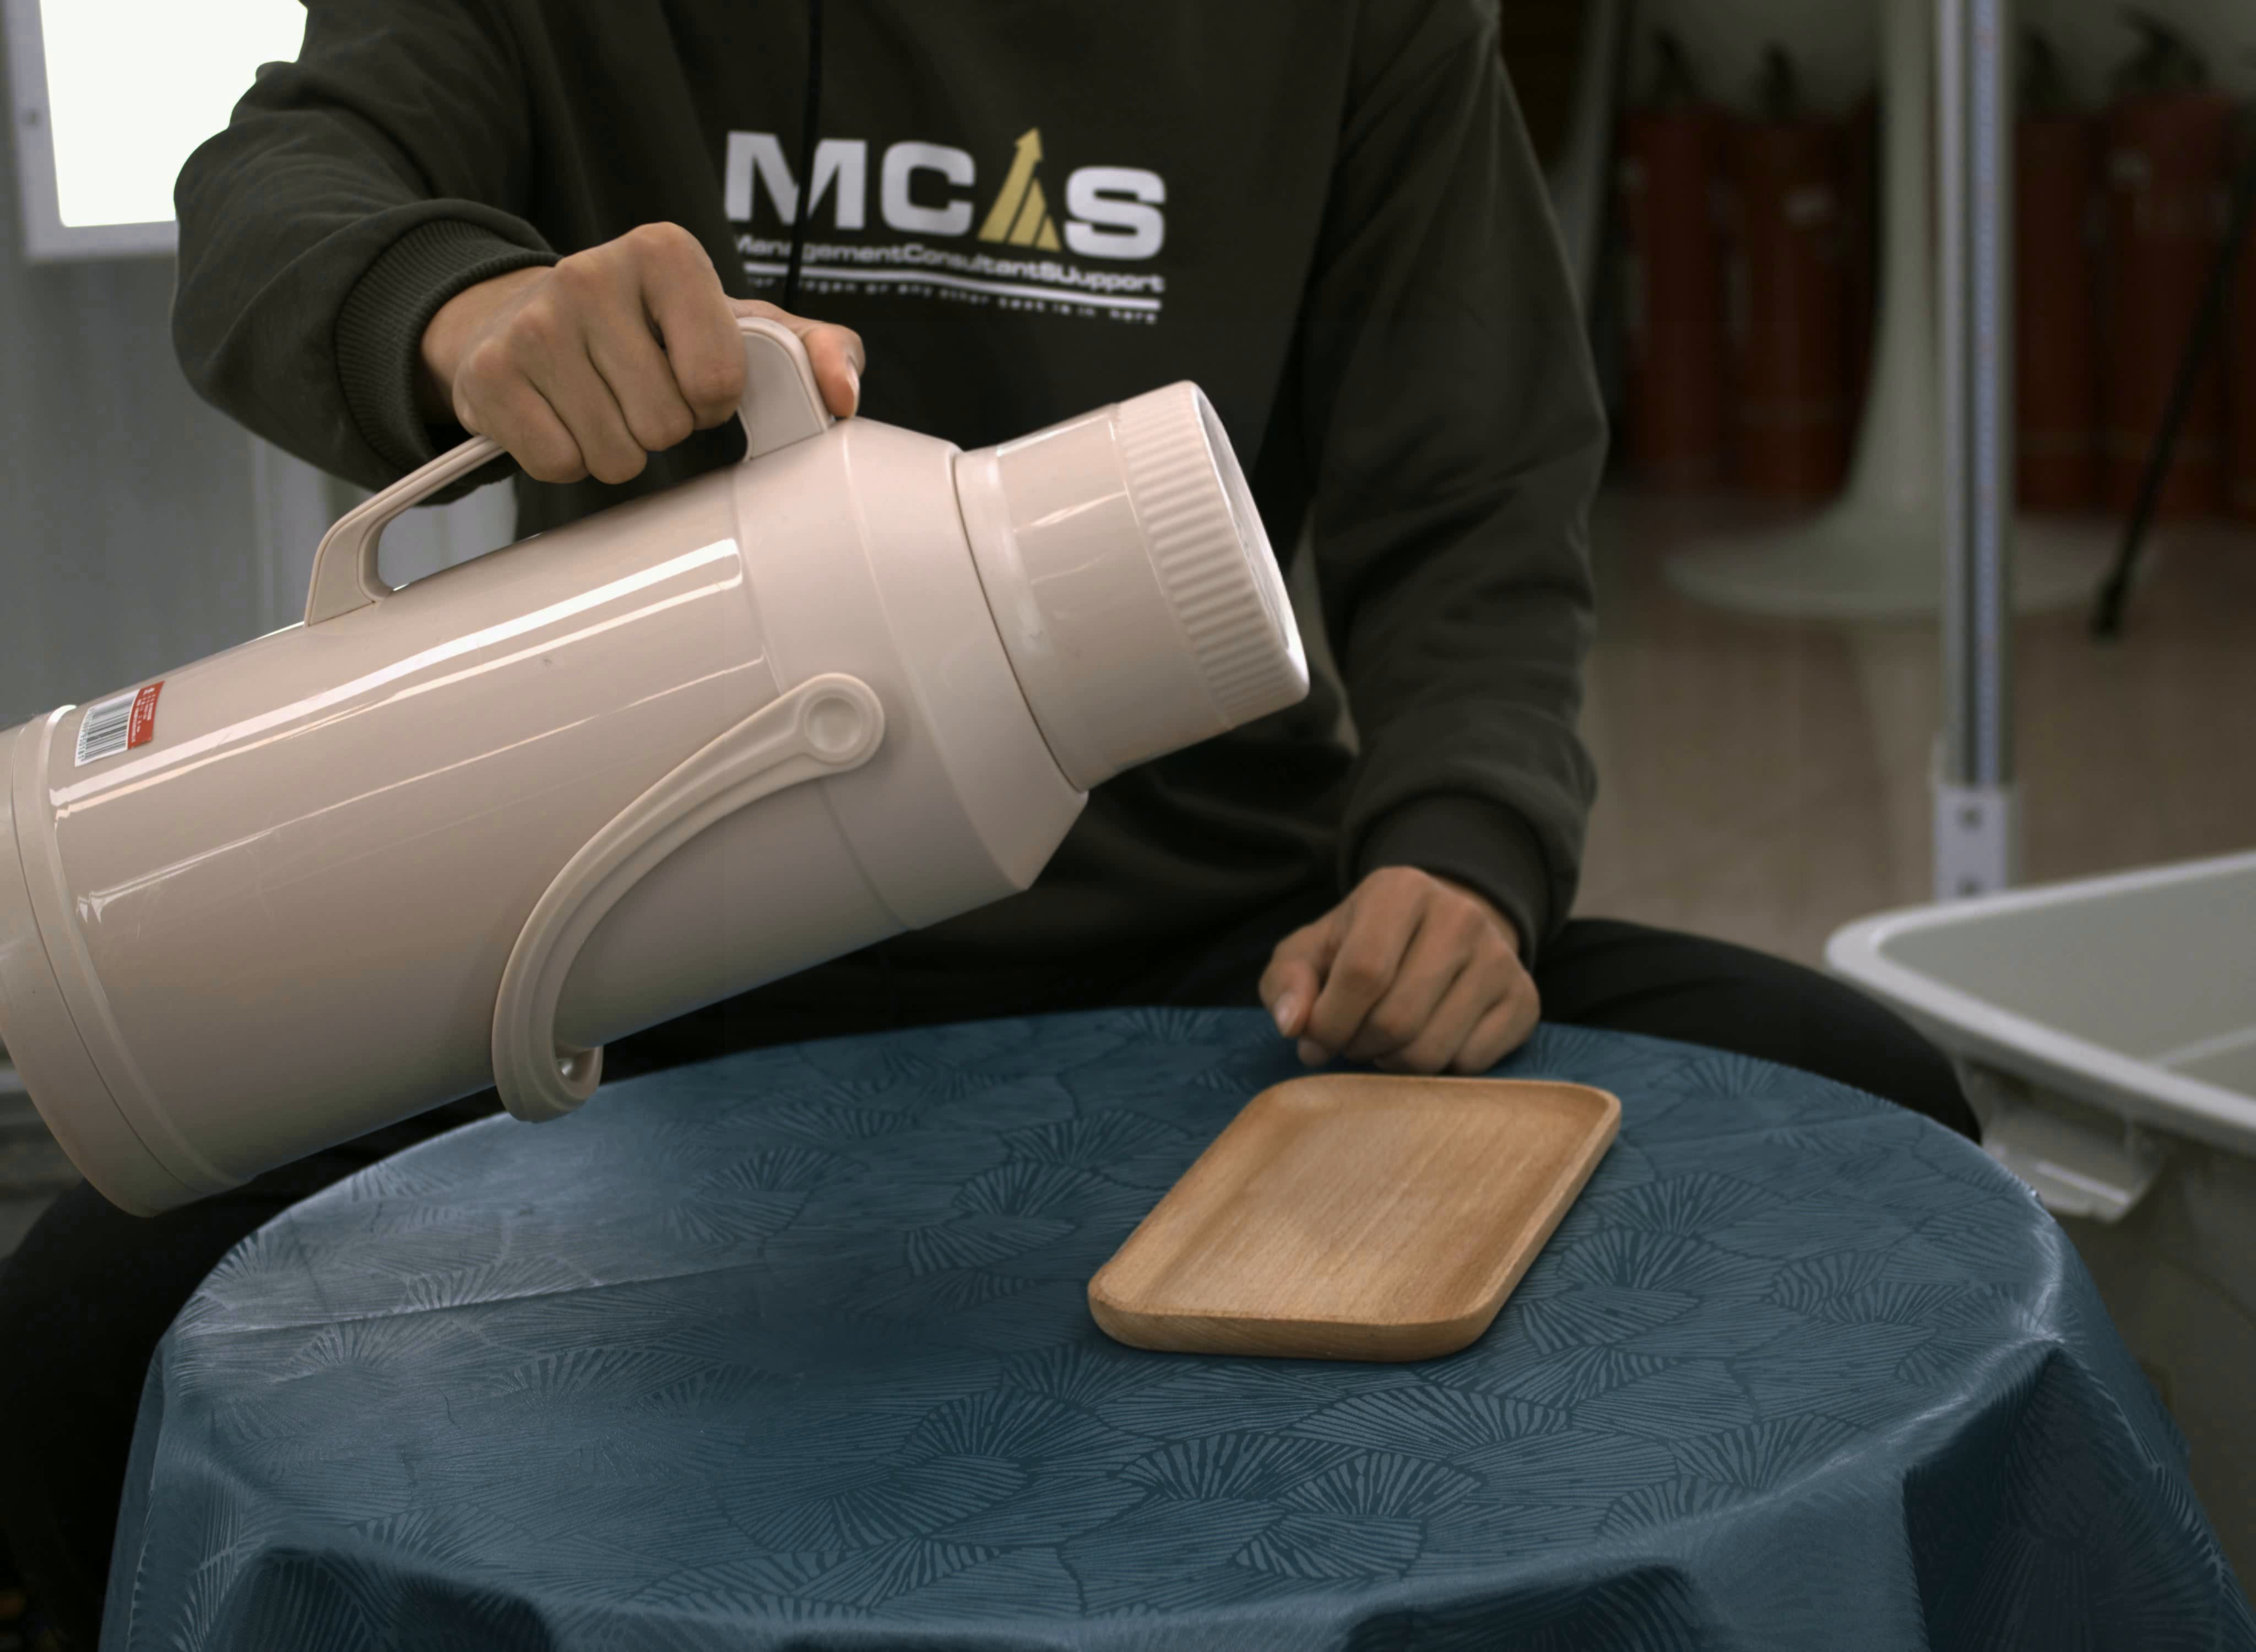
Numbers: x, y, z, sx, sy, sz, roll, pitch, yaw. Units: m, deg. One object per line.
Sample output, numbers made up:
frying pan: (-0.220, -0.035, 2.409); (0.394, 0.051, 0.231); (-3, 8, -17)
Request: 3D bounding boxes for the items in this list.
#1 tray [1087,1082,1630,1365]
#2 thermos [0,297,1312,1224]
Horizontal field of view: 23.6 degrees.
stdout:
tray: (0.077, 0.124, 1.713); (0.130, 0.023, 0.248); (3, 14, 18)
thermos: (-0.152, -0.035, 1.662); (0.404, 0.208, 0.175); (-21, 7, 9)
